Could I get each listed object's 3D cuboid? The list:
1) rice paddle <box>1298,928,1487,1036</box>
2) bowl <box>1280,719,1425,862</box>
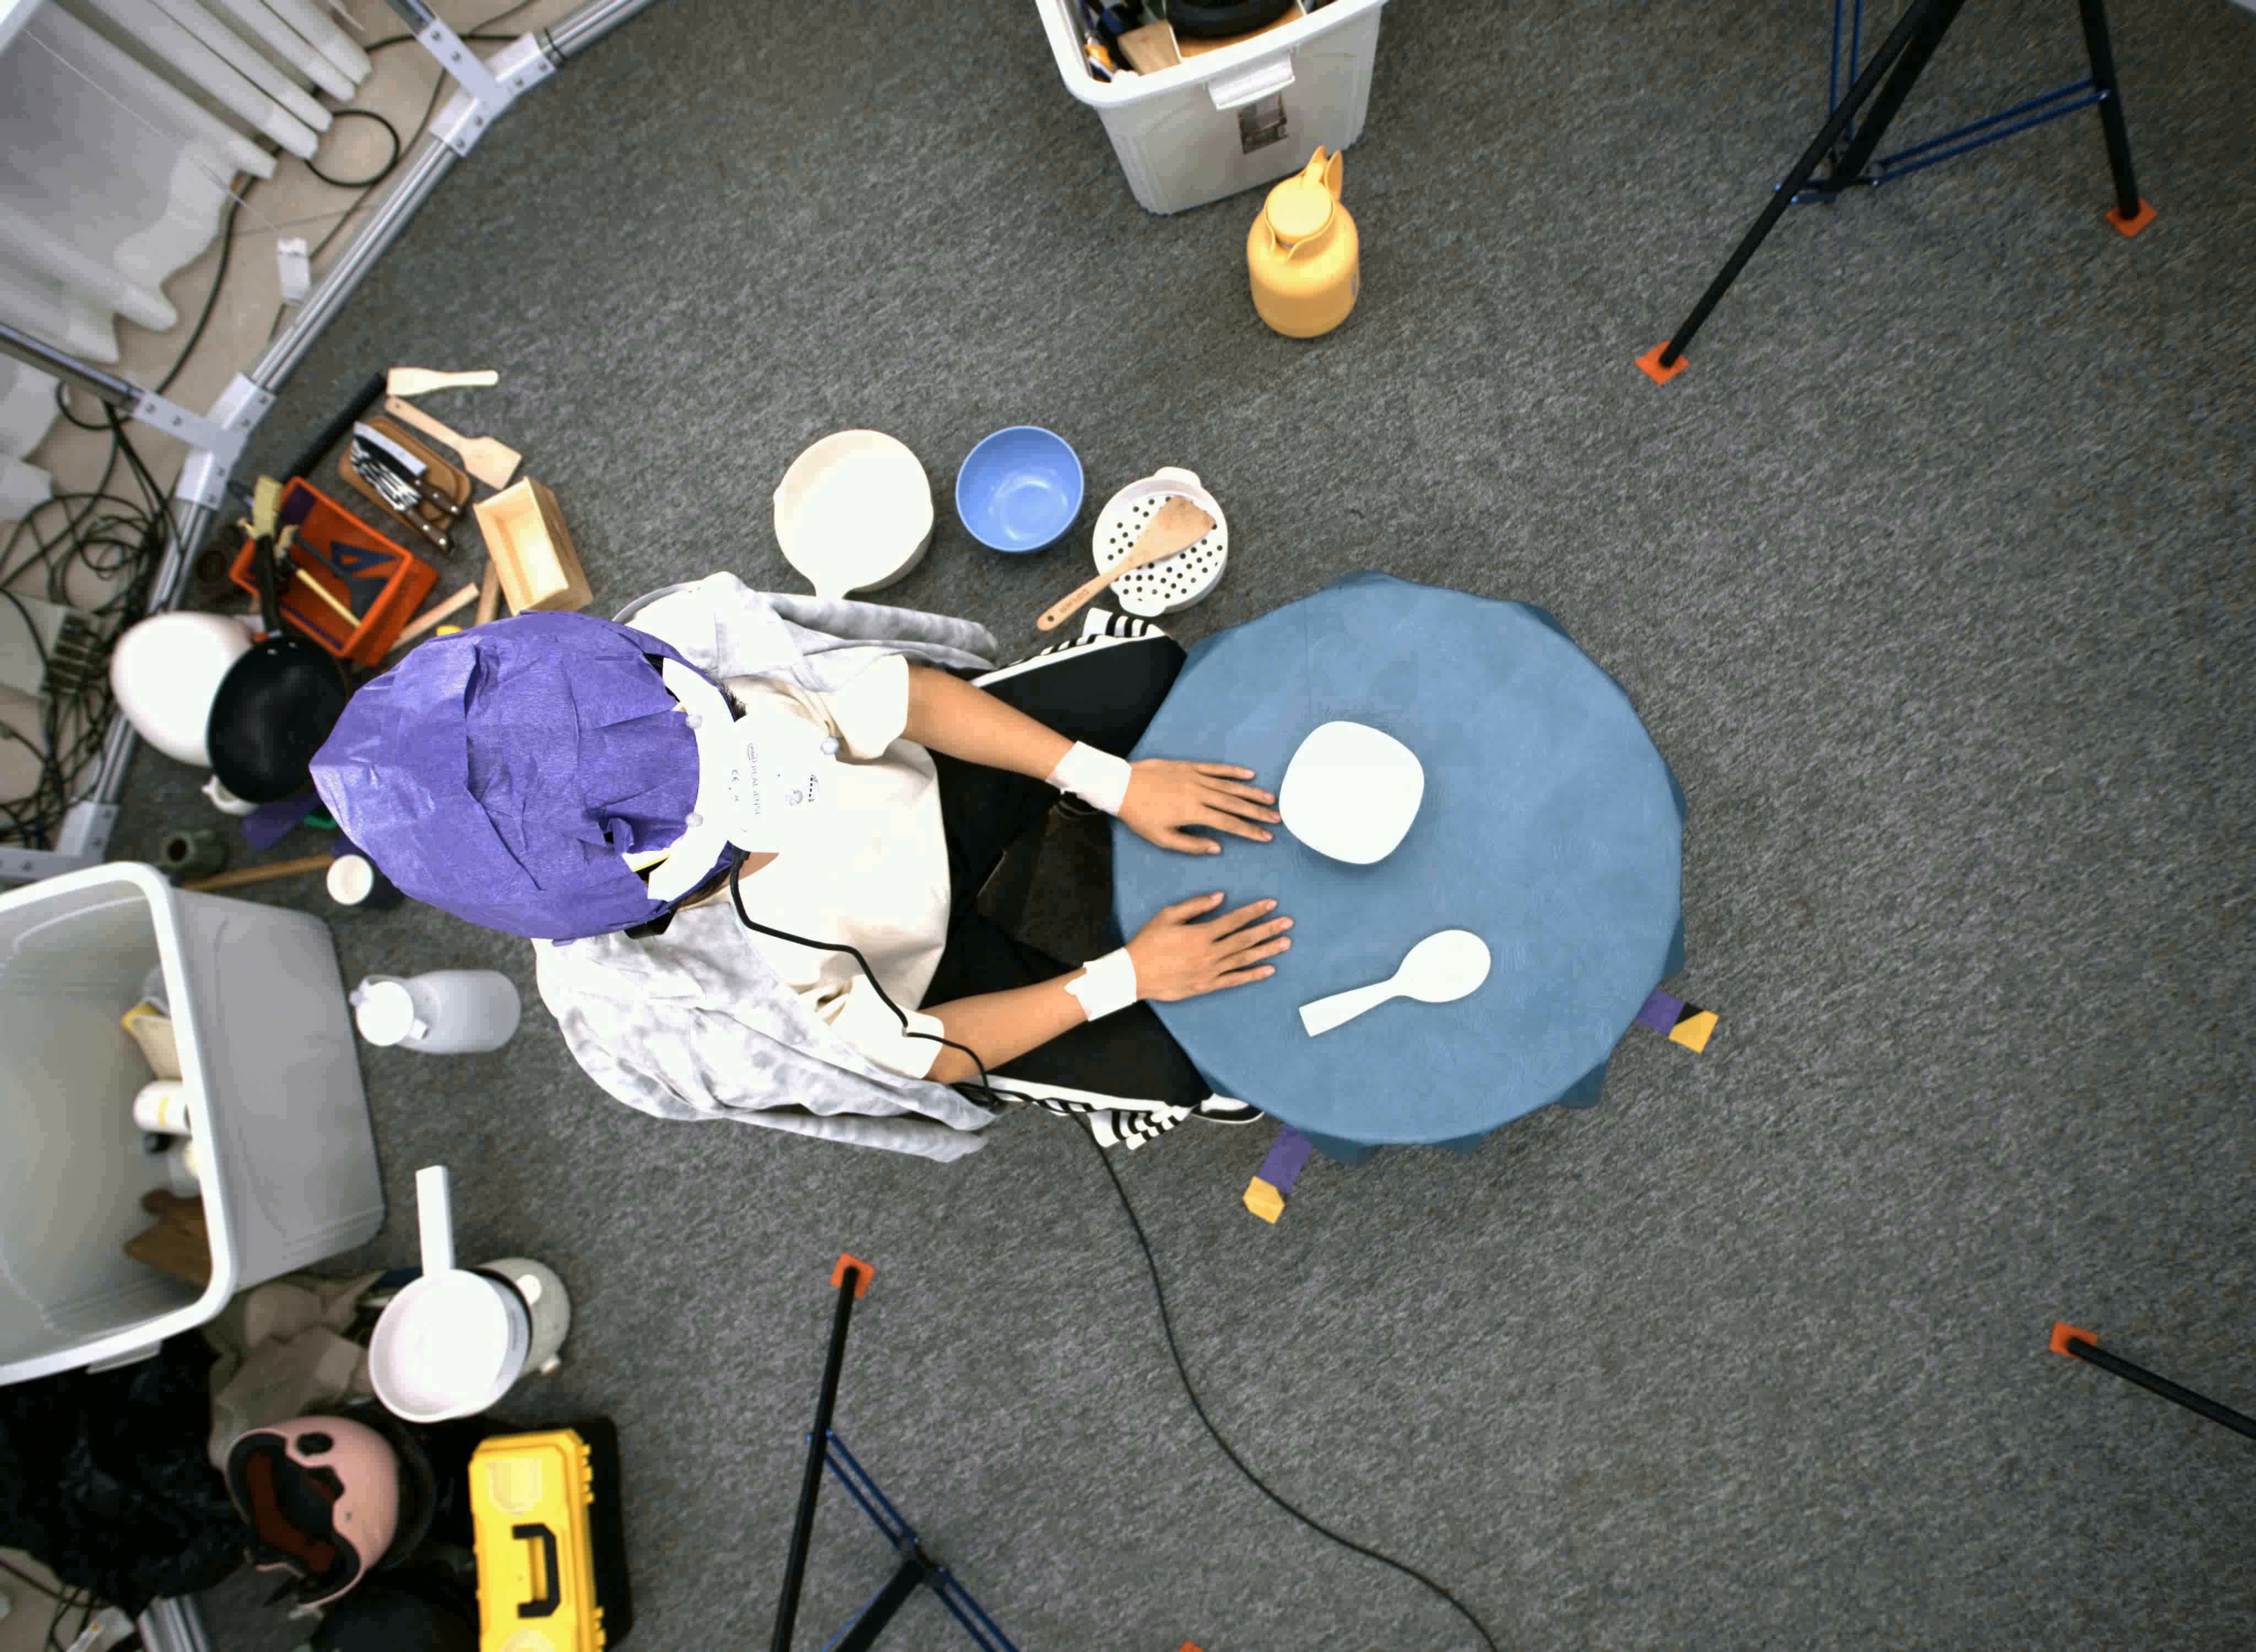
[{"bbox_3d":[0.276,0.163,1.436,0.206,0.029,0.068,-24,84,9],"label":"rice paddle"},{"bbox_3d":[0.234,-0.036,1.440,0.152,0.058,0.151,0,90,9],"label":"bowl"}]
